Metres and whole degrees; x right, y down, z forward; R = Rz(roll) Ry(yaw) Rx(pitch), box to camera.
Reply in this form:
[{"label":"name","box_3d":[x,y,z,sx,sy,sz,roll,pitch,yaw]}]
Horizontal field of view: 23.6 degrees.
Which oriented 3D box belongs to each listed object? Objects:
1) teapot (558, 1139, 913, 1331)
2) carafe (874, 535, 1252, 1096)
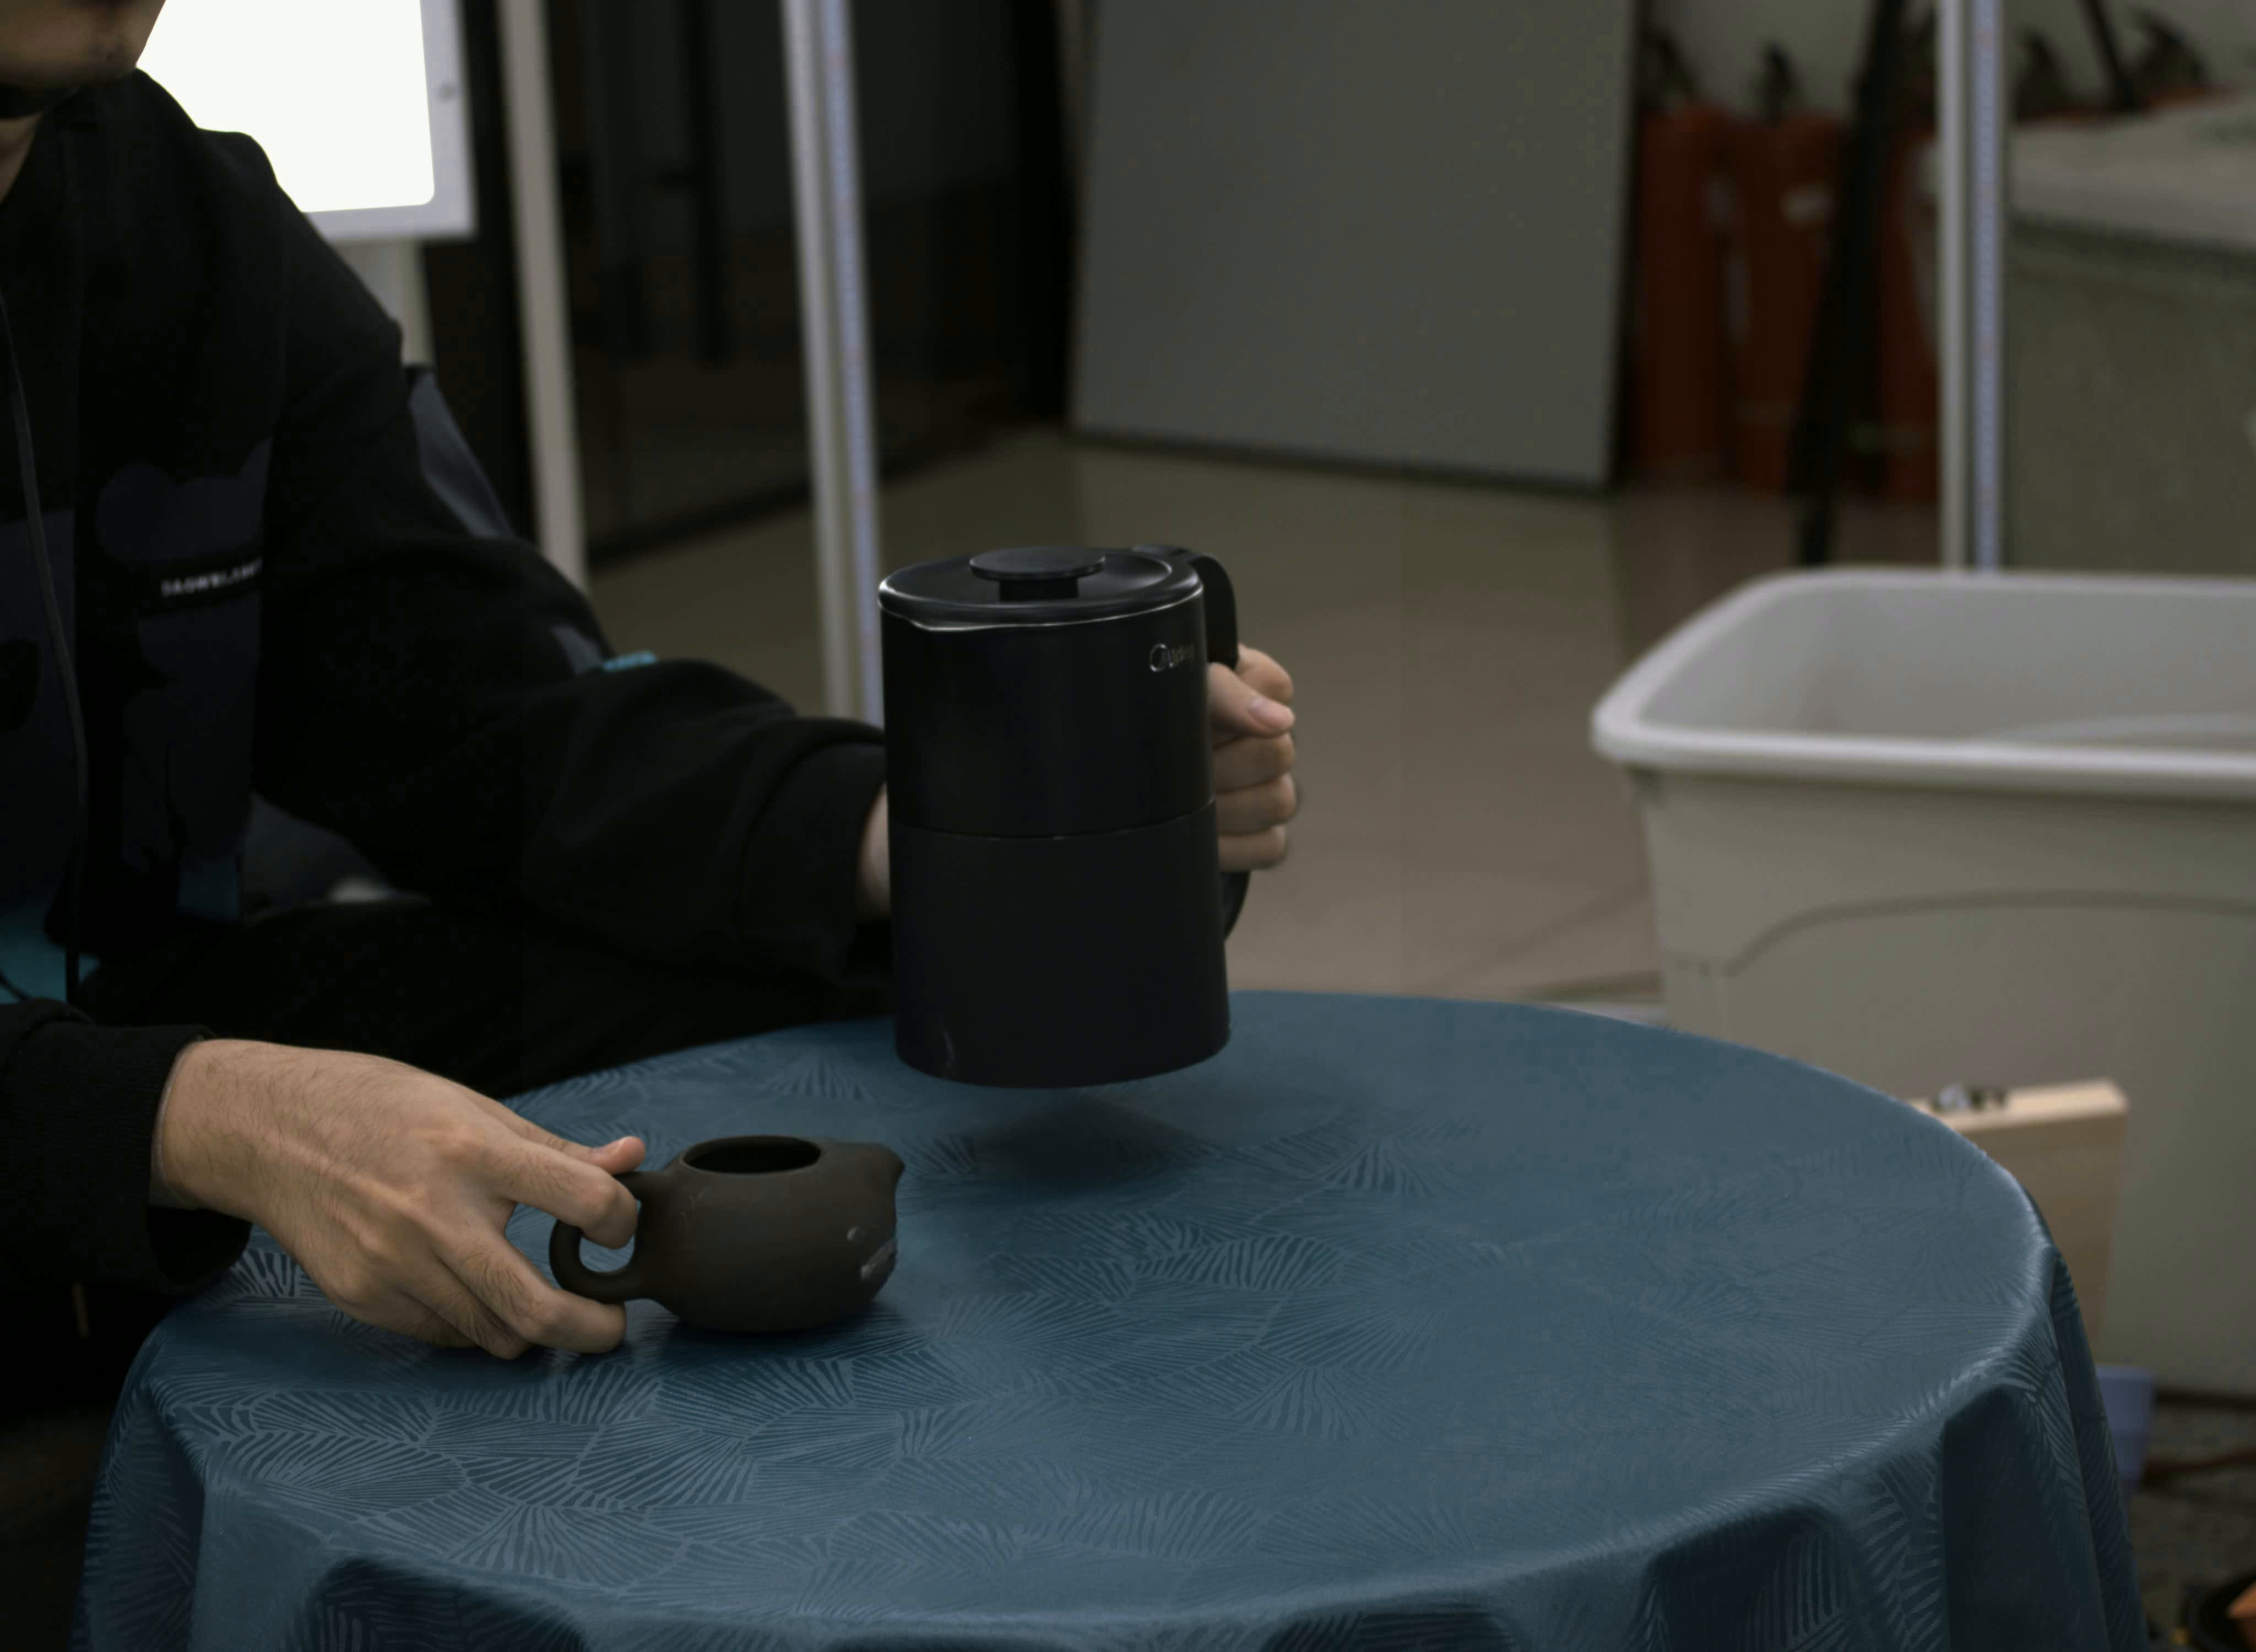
[{"label":"teapot","box_3d":[-0.120,0.127,1.669,0.112,0.053,0.083,-3,6,-15]},{"label":"carafe","box_3d":[-0.014,-0.014,1.809,0.115,0.175,0.169,2,15,31]}]
